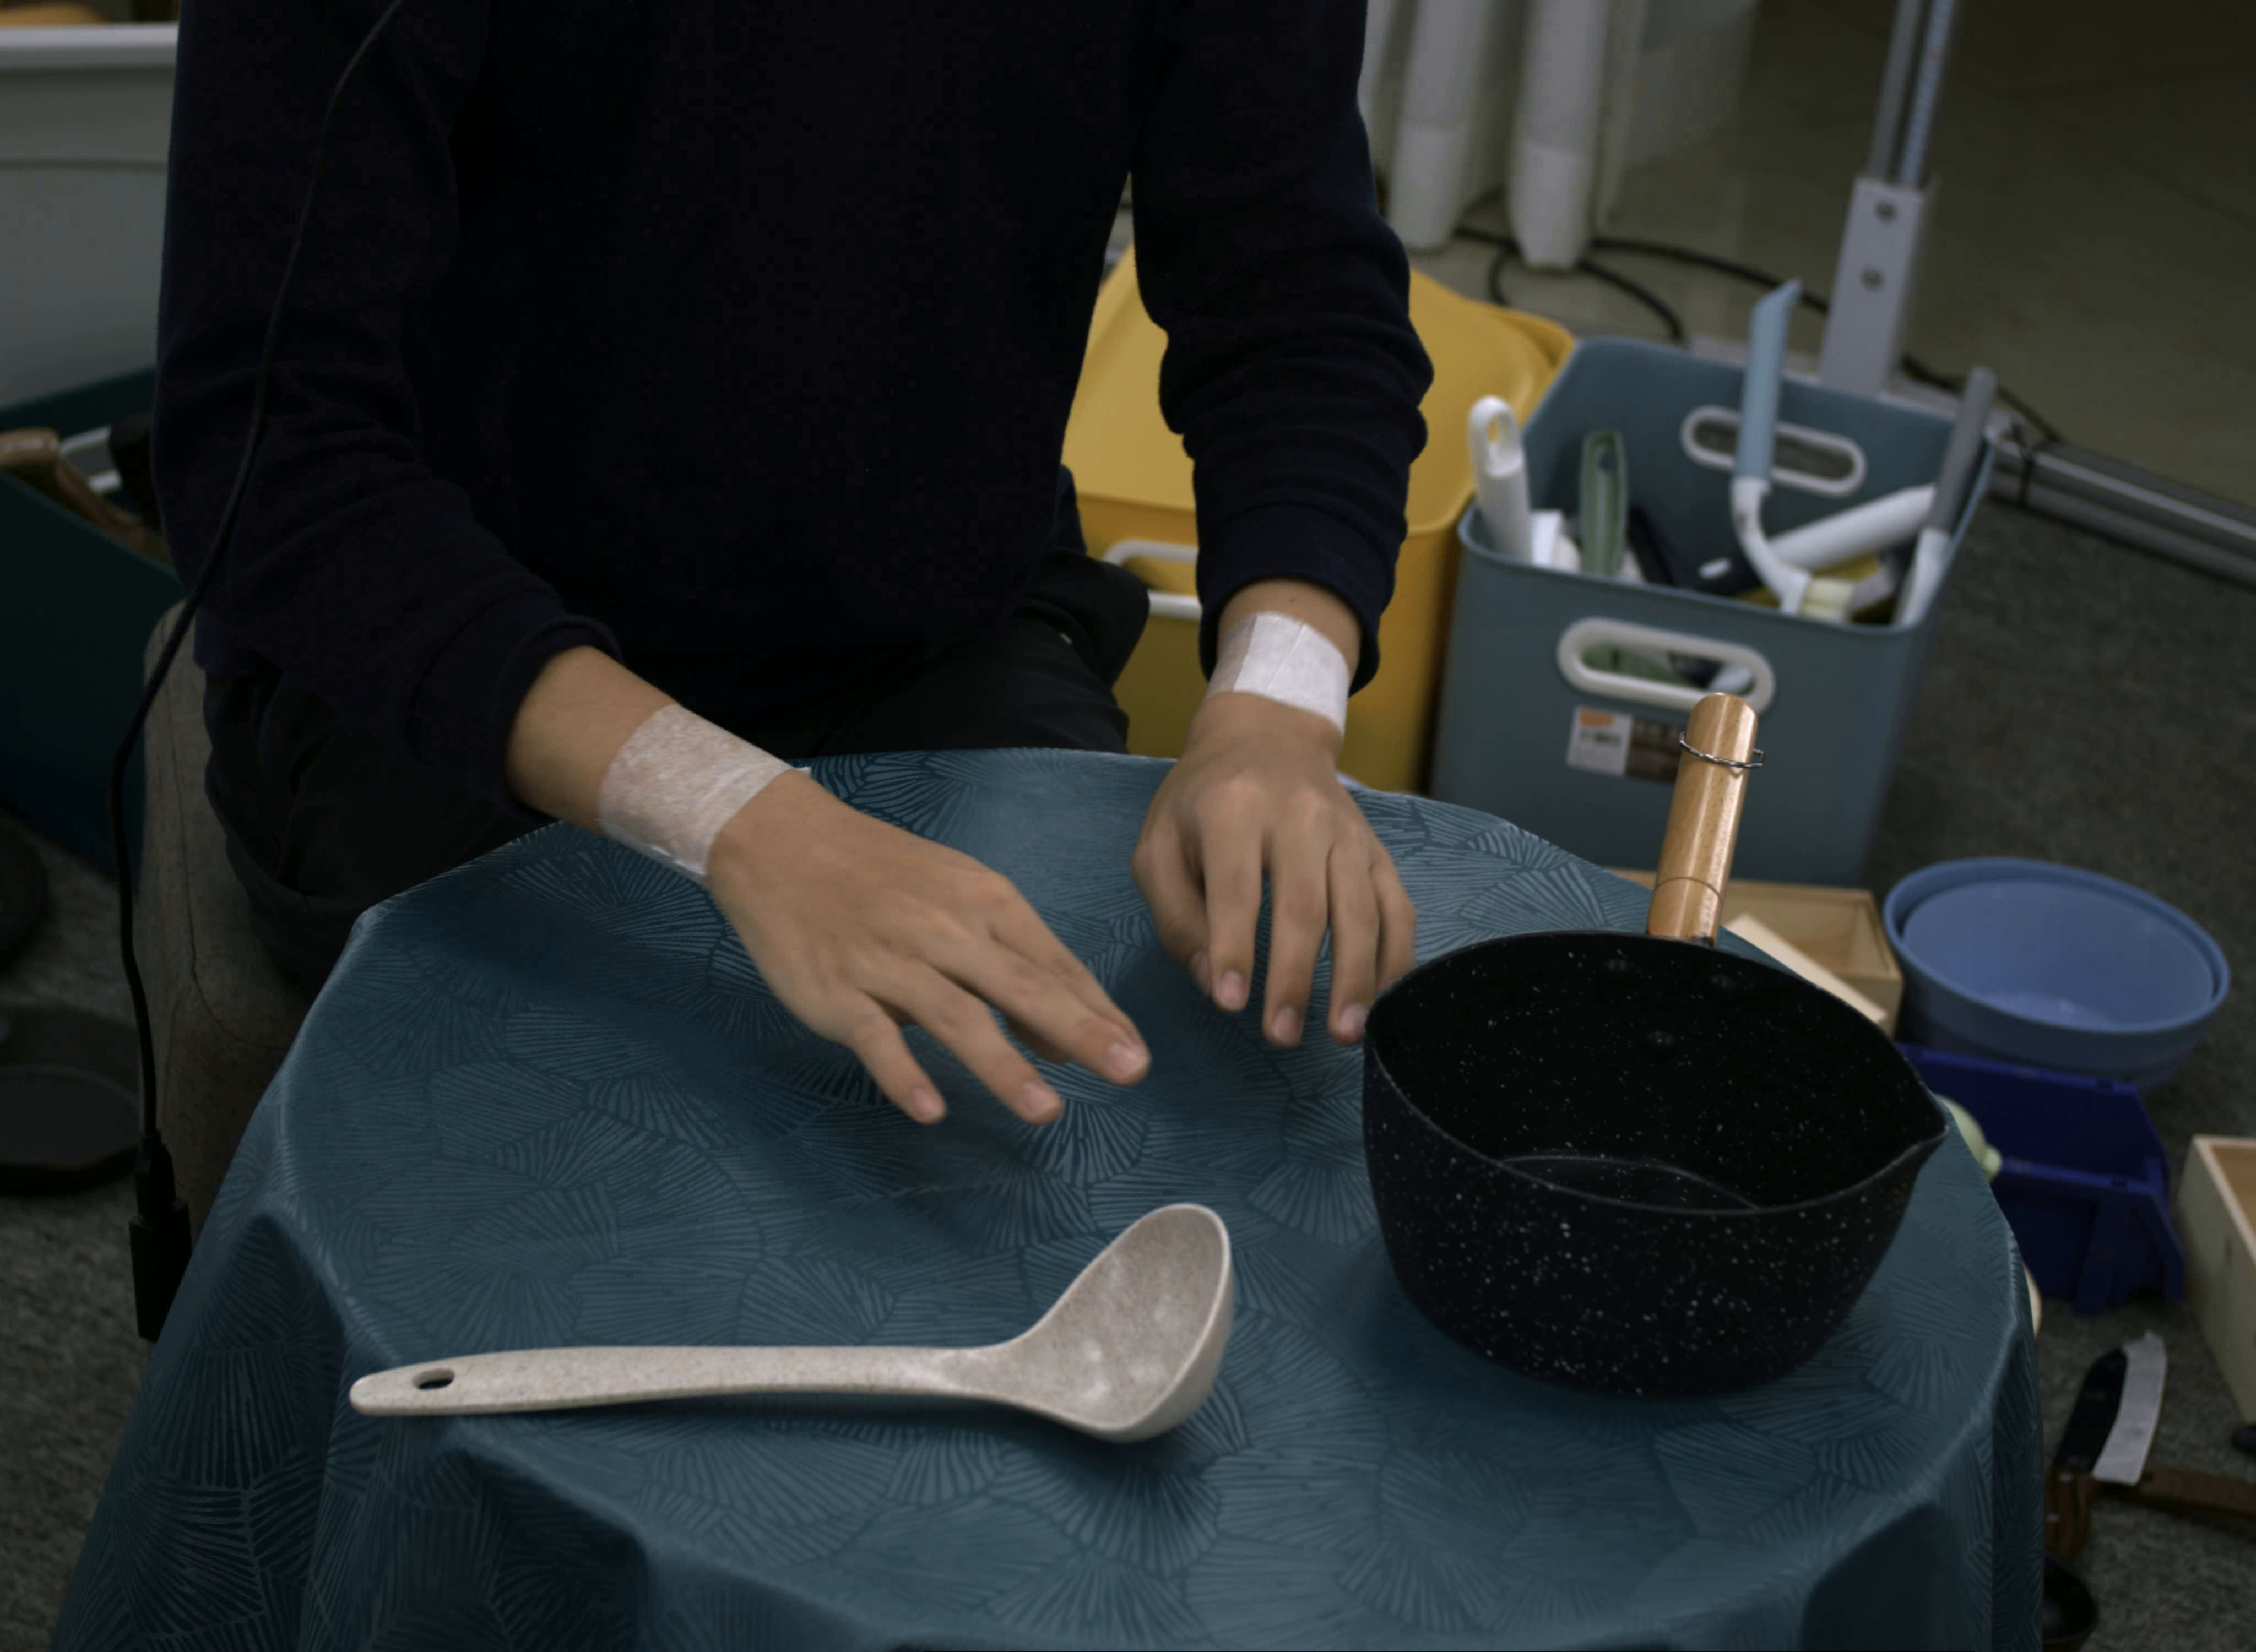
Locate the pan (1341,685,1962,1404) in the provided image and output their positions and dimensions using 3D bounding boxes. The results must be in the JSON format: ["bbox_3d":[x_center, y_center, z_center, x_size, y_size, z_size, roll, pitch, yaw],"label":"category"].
[{"bbox_3d":[0.182,0.070,1.830,0.207,0.108,0.344,9,28,7],"label":"pan"}]

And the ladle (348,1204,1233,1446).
[{"bbox_3d":[-0.104,0.155,1.652,0.273,0.069,0.090,1,36,-7],"label":"ladle"}]
